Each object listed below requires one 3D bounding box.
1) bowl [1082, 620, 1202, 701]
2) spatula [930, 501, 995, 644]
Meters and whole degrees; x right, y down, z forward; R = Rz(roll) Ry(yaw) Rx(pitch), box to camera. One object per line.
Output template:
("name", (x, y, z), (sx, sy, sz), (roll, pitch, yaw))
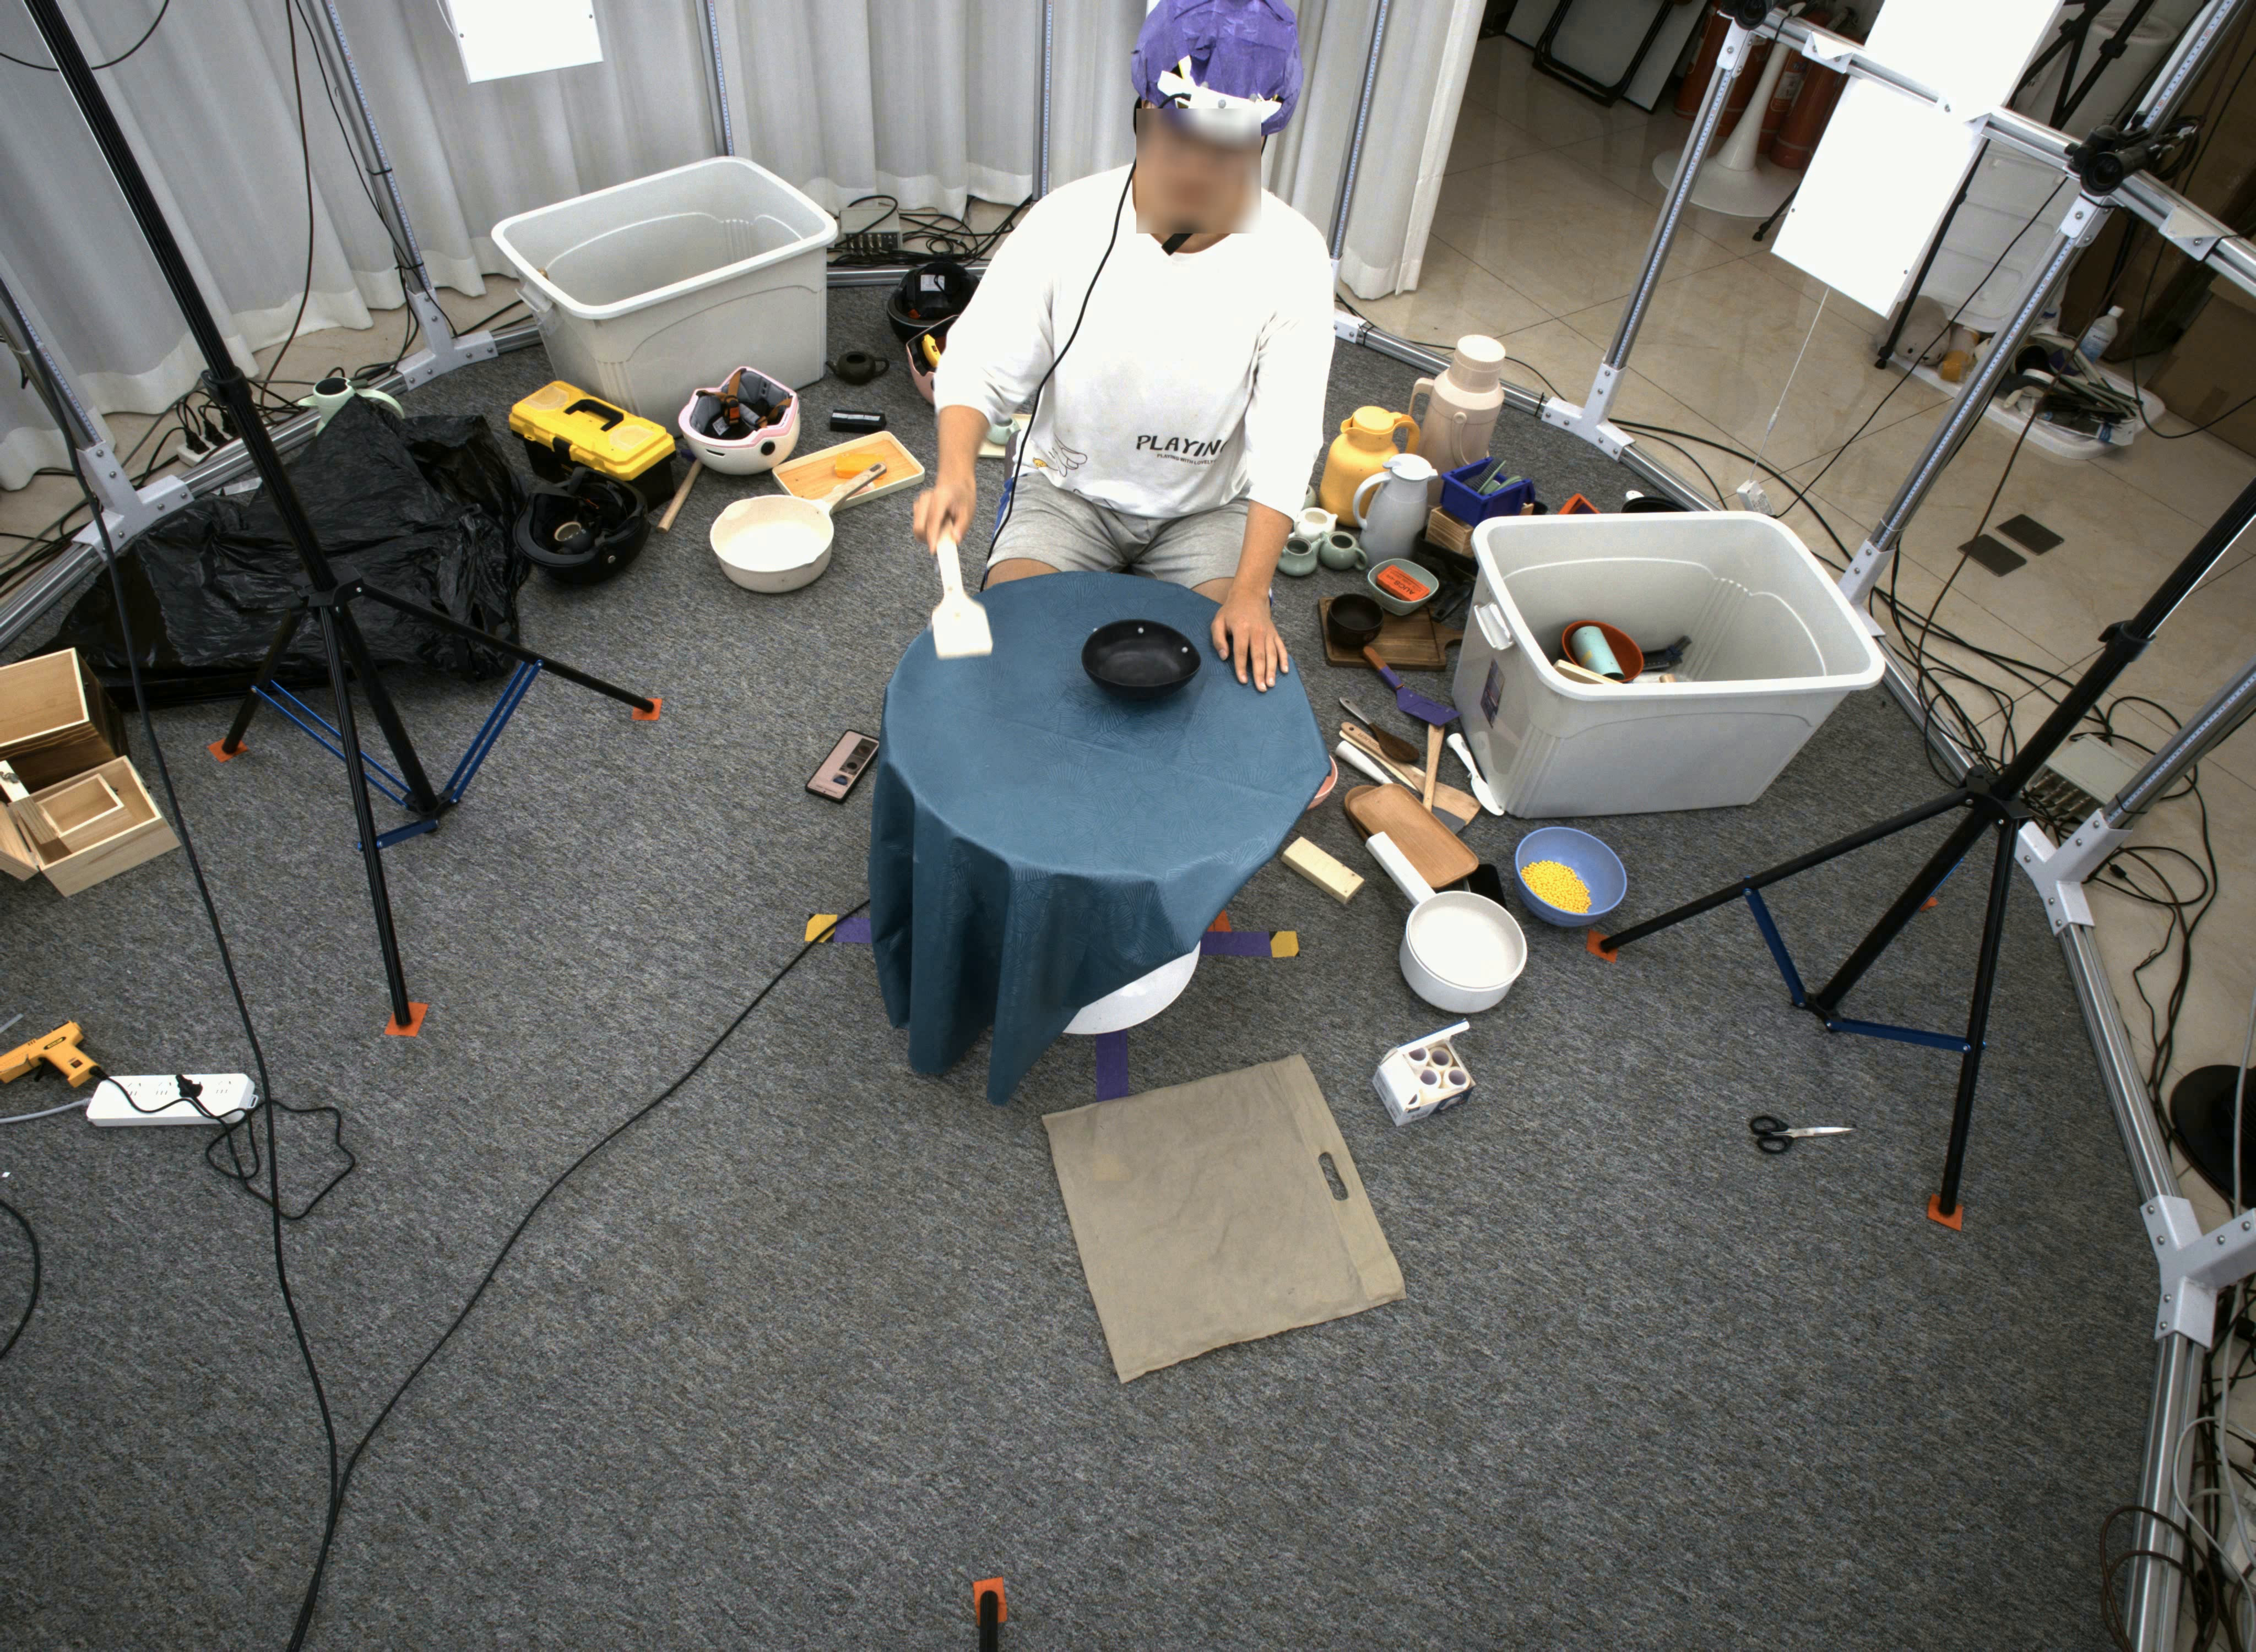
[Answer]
("bowl", (0.018, -0.225, 1.820), (0.170, 0.065, 0.141), (-3, 49, -10))
("spatula", (-0.232, -0.339, 1.701), (0.072, 0.010, 0.300), (-9, 49, -9))
